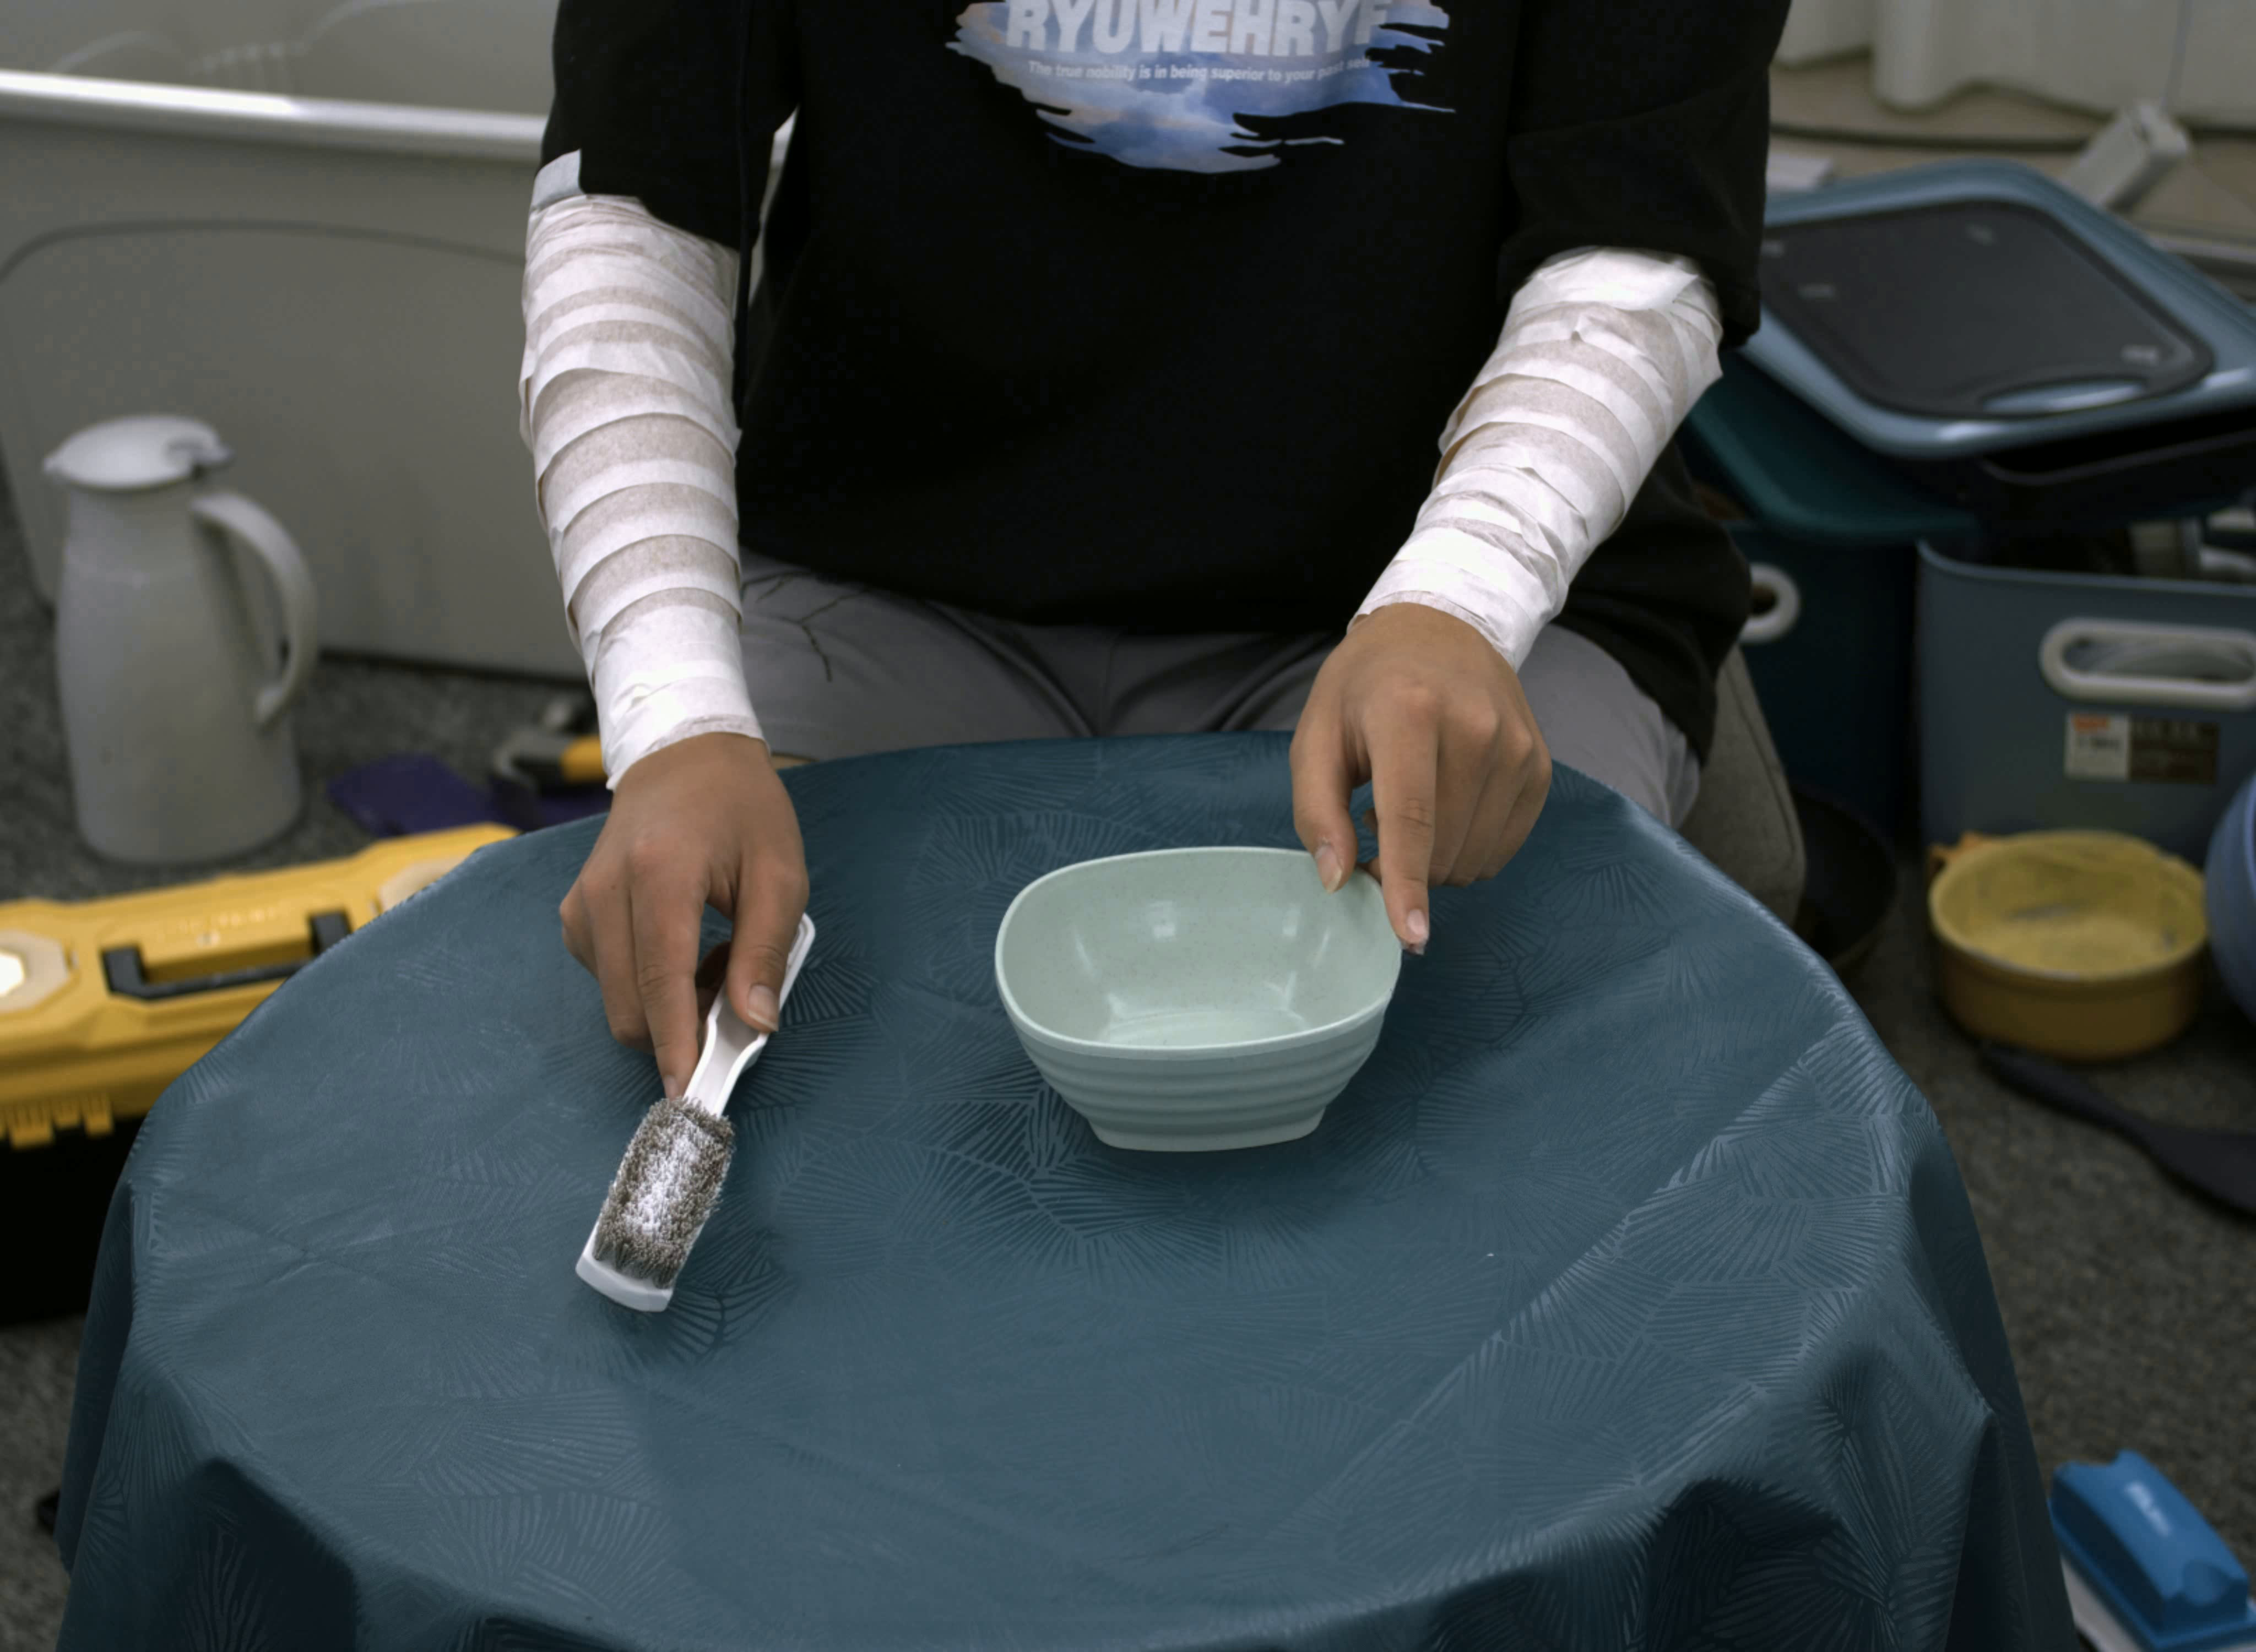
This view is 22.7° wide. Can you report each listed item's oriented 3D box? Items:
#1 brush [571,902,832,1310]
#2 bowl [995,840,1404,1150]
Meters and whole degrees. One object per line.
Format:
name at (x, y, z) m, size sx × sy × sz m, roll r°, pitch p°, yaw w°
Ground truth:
brush at (-0.134, 0.079, 1.886) m, size 0.034 × 0.049 × 0.248 m, roll 26°, pitch 33°, yaw -1°
bowl at (0.024, 0.063, 1.908) m, size 0.151 × 0.058 × 0.154 m, roll 0°, pitch 28°, yaw 1°
